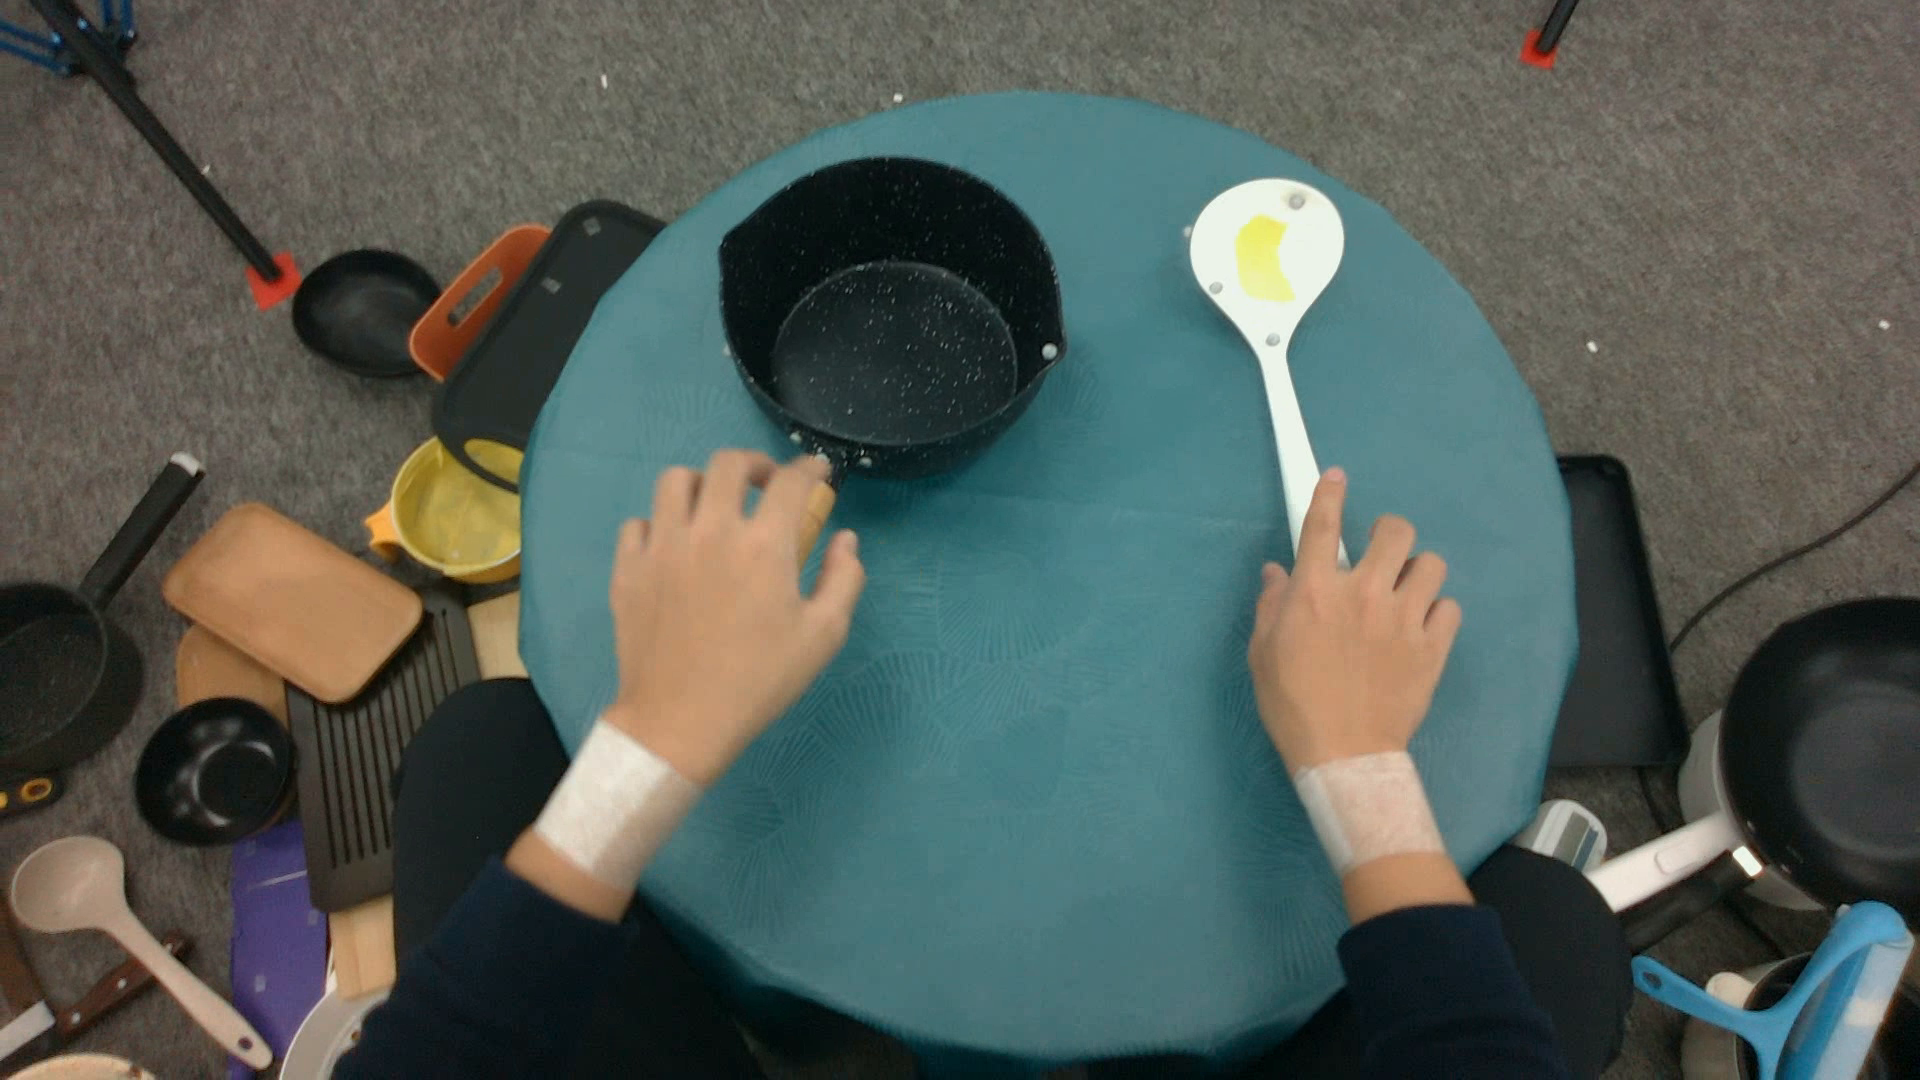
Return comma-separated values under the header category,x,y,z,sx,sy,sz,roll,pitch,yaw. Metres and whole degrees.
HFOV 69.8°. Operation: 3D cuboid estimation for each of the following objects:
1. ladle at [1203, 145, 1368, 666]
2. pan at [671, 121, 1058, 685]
category,x,y,z,sx,sy,sz,roll,pitch,yaw
ladle,0.194,-0.079,0.776,0.090,0.069,0.294,-2,70,-9
pan,-0.068,-0.068,0.739,0.207,0.108,0.344,18,68,4
